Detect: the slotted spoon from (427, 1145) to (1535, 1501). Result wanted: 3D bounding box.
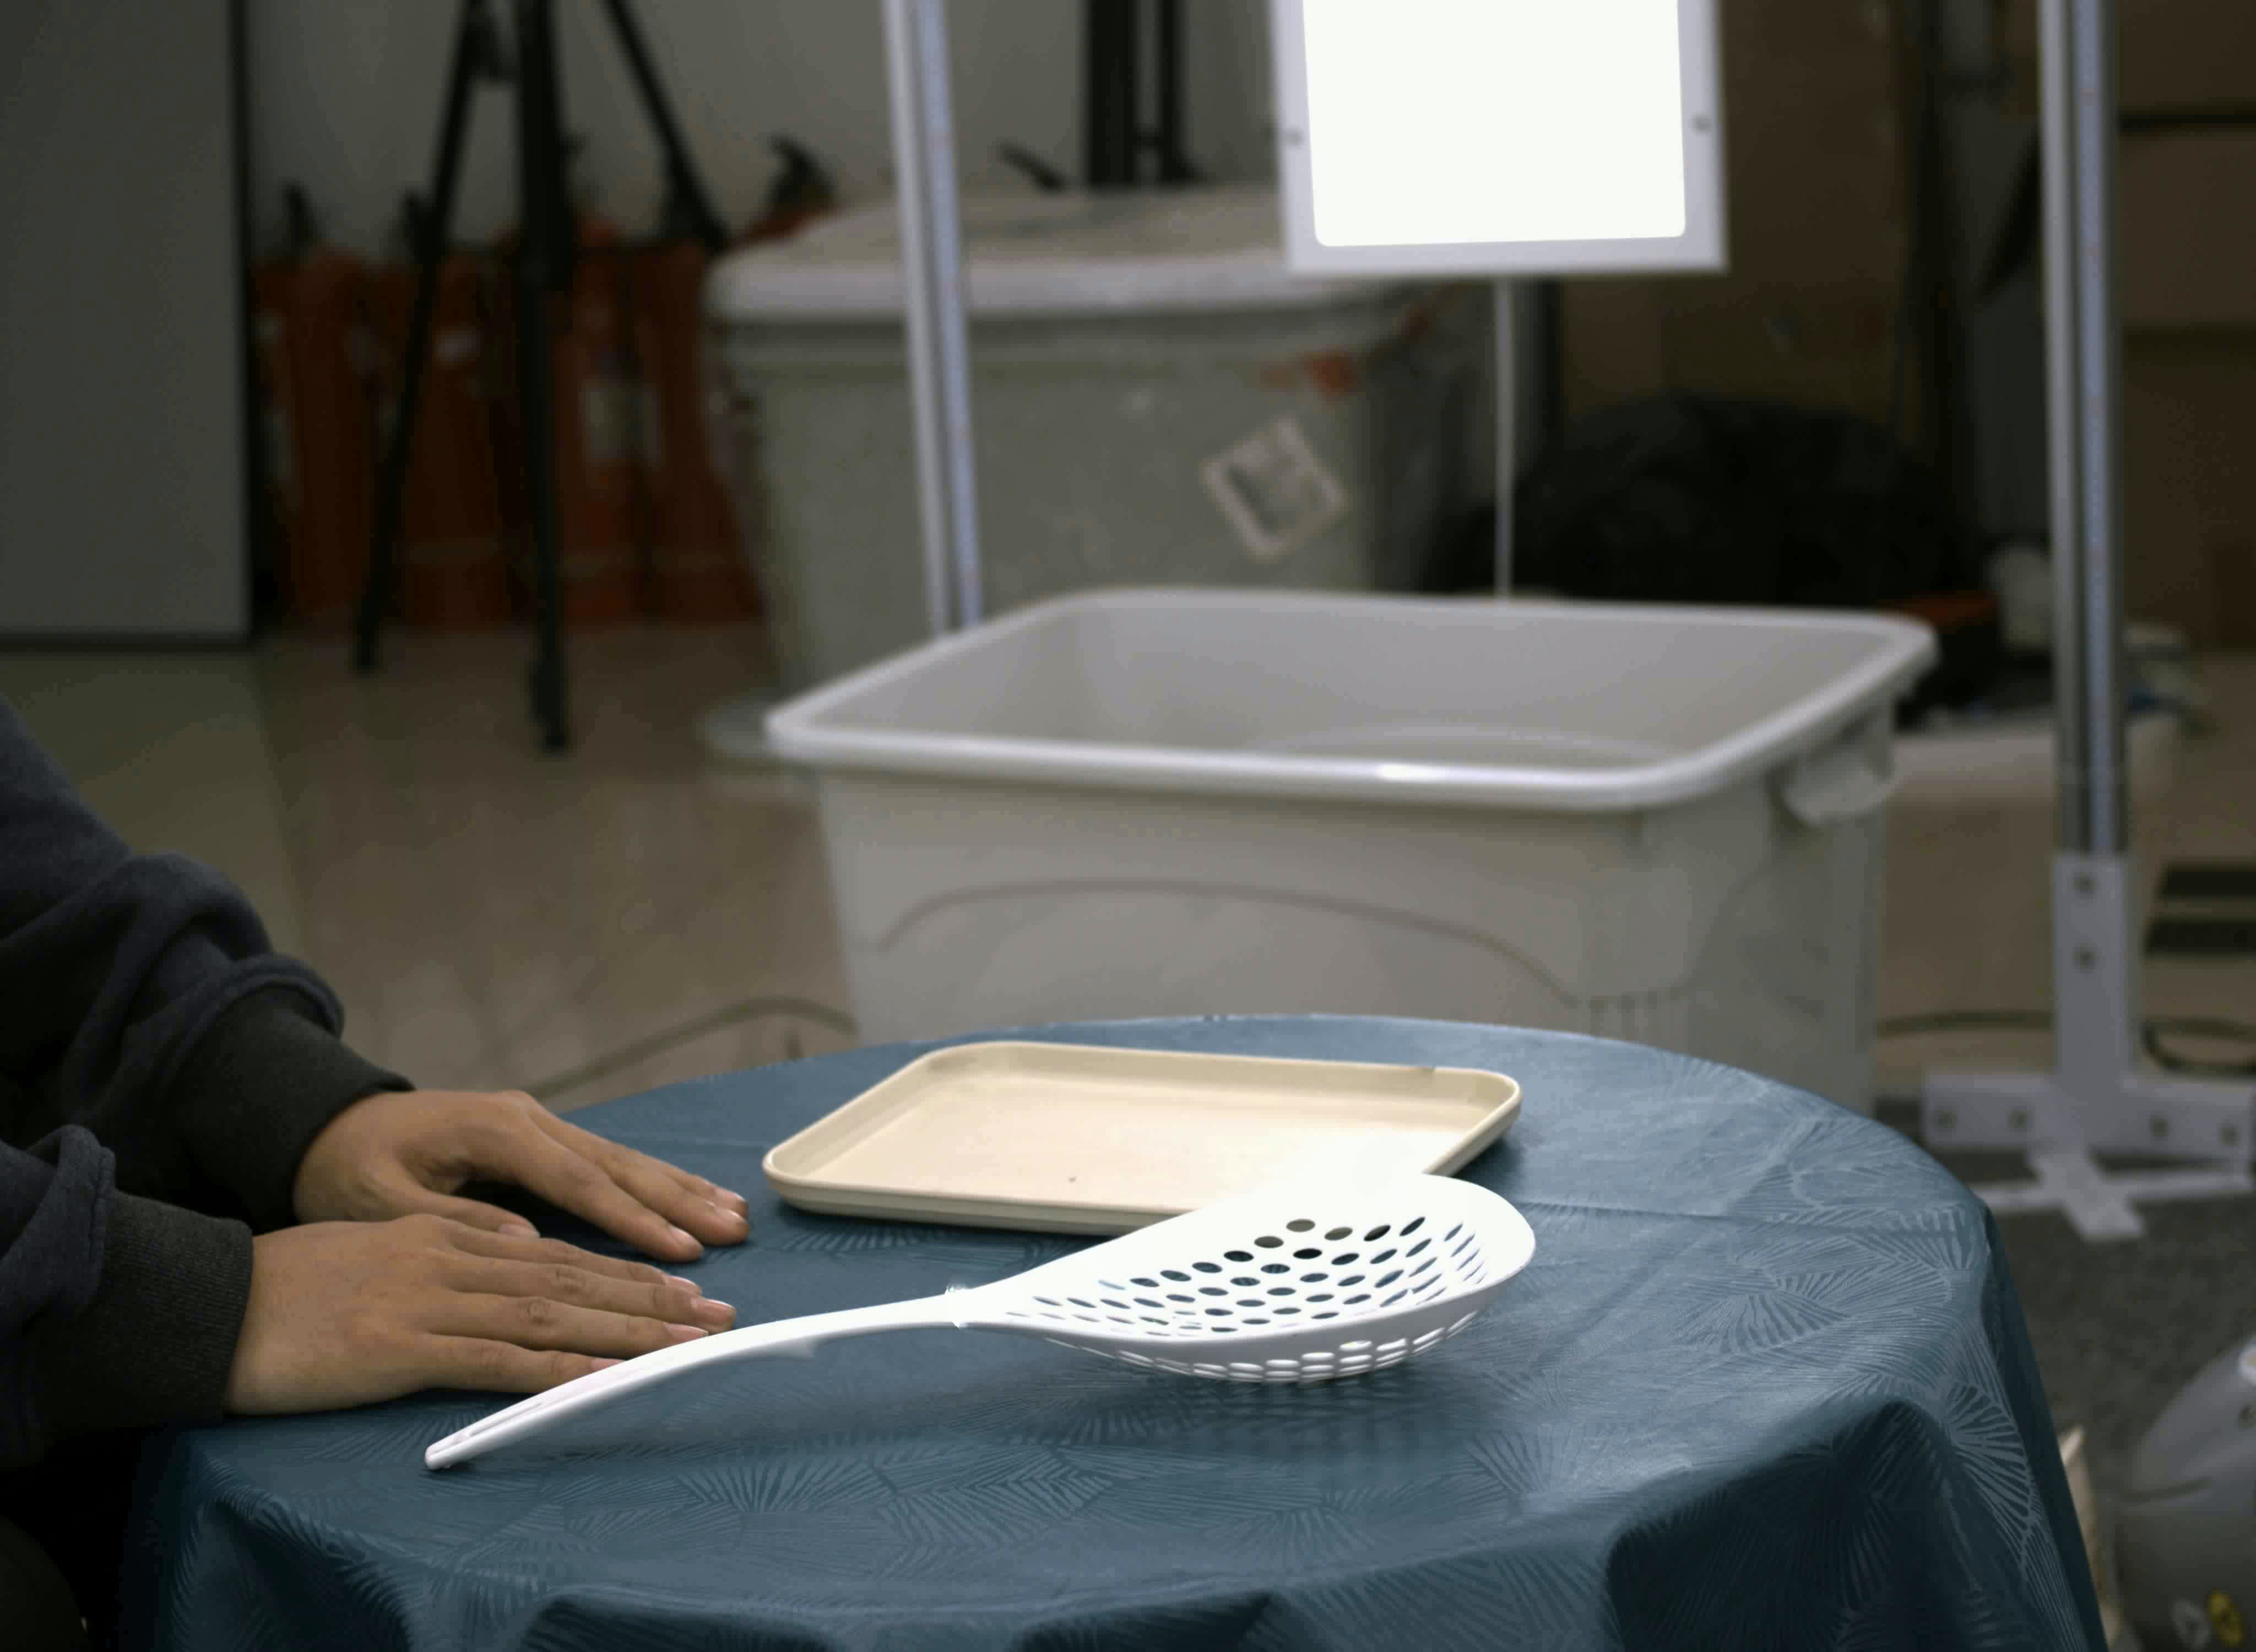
[{"bbox_3d":[-0.045,0.159,1.698,0.345,0.050,0.137,-7,17,-4],"label":"slotted spoon"}]

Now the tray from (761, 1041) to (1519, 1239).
[{"bbox_3d":[0.005,0.111,1.921,0.244,0.017,0.167,2,16,28],"label":"tray"}]
